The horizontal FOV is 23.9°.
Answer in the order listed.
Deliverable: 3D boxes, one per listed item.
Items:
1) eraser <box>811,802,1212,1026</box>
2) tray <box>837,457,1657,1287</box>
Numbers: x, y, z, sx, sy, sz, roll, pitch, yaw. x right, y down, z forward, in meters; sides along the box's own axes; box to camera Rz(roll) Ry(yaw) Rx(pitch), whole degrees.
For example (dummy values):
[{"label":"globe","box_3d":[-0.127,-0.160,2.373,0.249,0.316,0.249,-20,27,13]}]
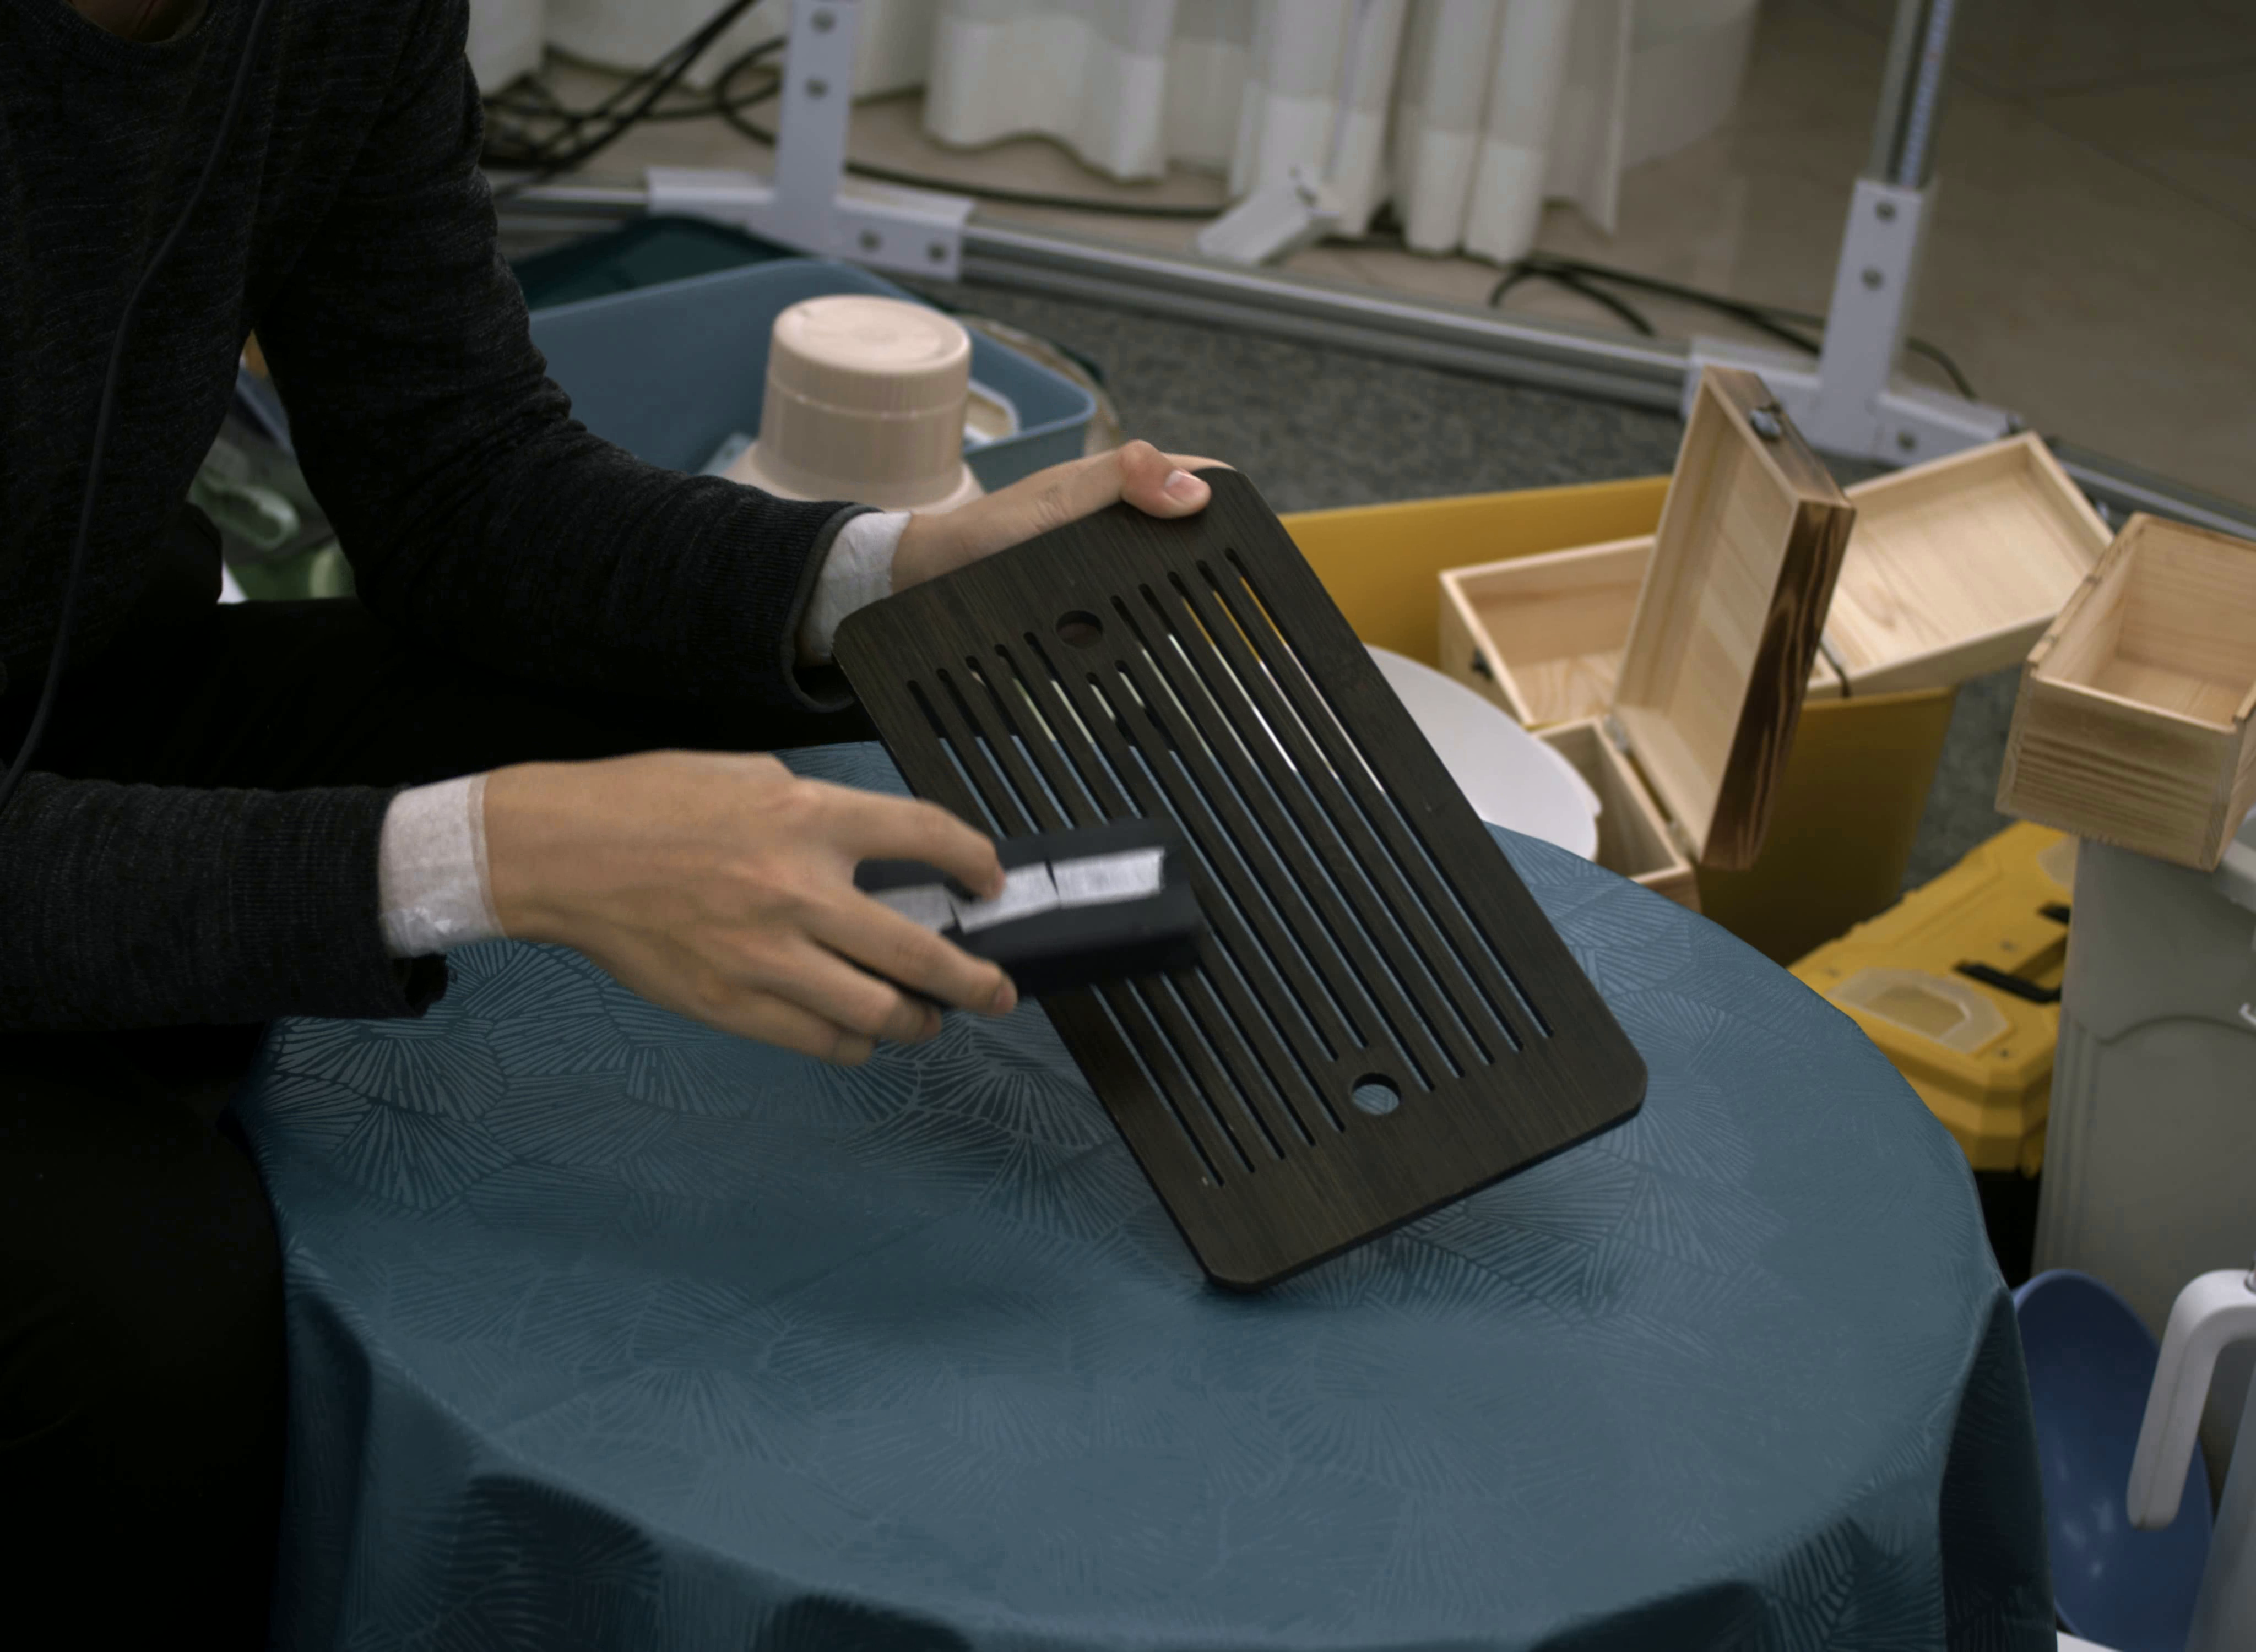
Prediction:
[{"label":"eraser","box_3d":[-0.039,0.028,1.758,0.125,0.030,0.054,-11,53,-17]},{"label":"tray","box_3d":[0.037,0.011,1.841,0.169,0.018,0.308,-24,59,-15]}]
